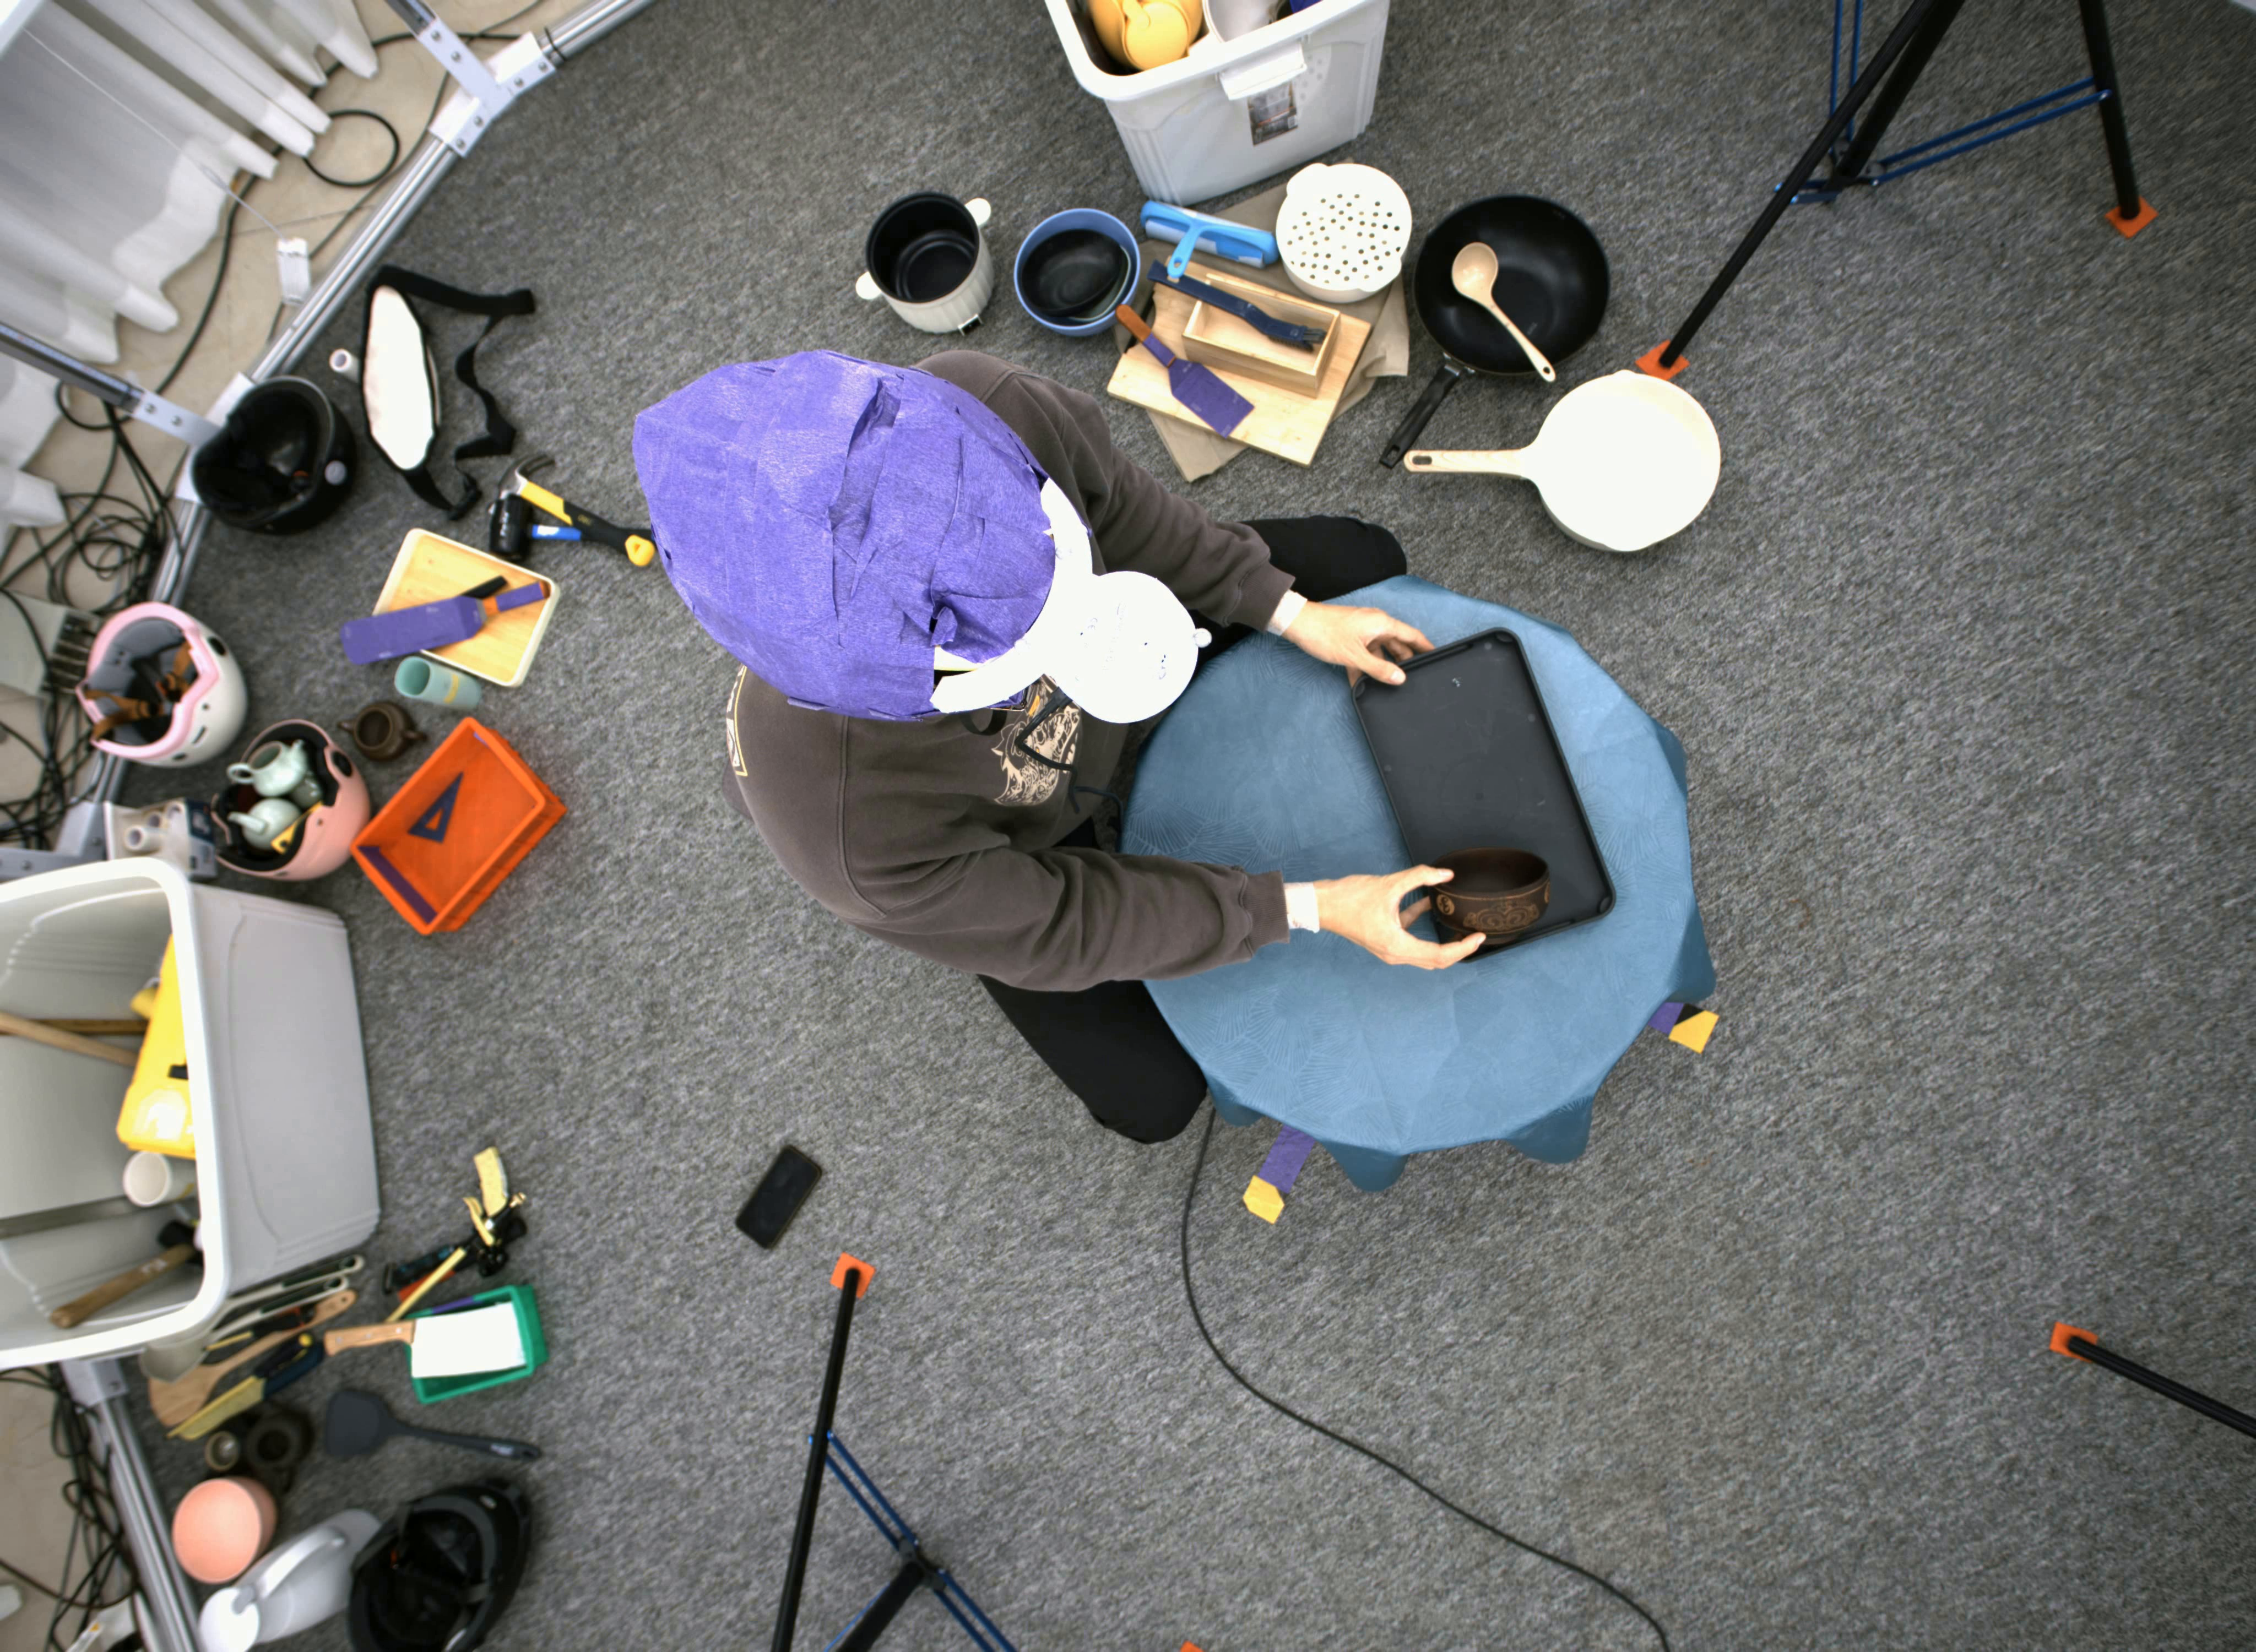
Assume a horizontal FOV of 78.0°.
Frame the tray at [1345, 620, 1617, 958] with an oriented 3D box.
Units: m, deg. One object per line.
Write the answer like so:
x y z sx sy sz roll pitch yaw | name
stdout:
0.363 -0.040 1.421 0.185 0.037 0.317 -21 87 10 | tray

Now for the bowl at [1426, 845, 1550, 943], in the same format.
0.354 0.070 1.350 0.118 0.115 0.071 -6 110 10 | bowl
